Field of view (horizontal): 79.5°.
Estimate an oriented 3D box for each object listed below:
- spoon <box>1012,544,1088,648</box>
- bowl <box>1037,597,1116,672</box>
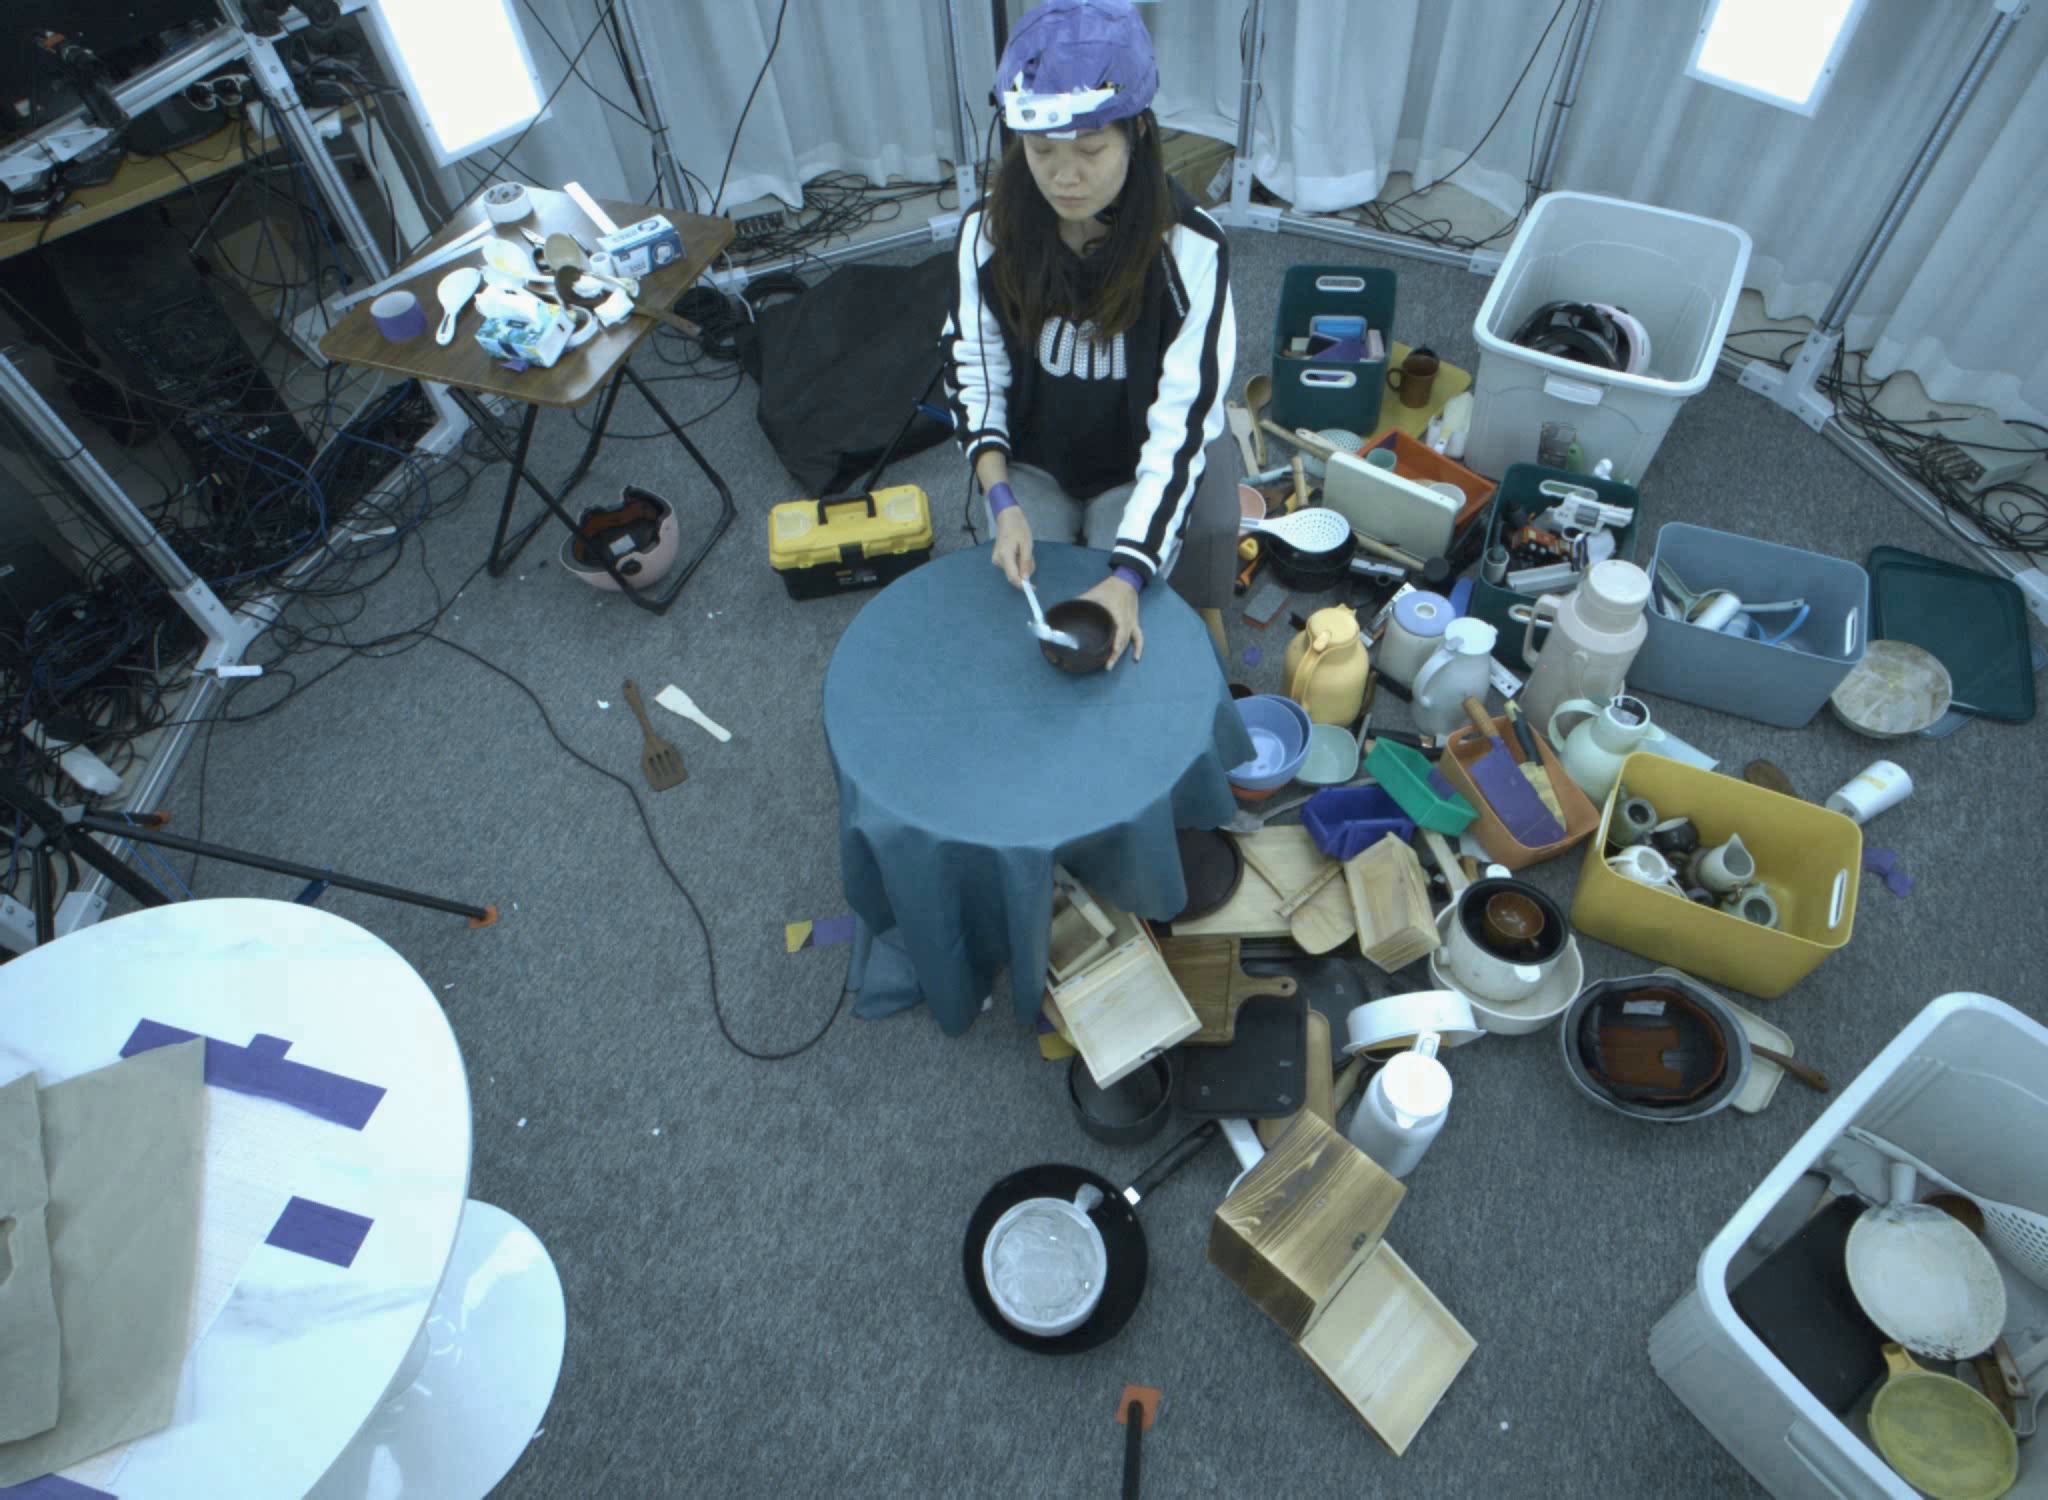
[{"bbox_3d":[0.032,-0.242,1.853,0.103,0.059,0.273,21,38,-34],"label":"spoon"},{"bbox_3d":[0.080,-0.167,1.858,0.118,0.070,0.117,-1,55,2],"label":"bowl"}]
